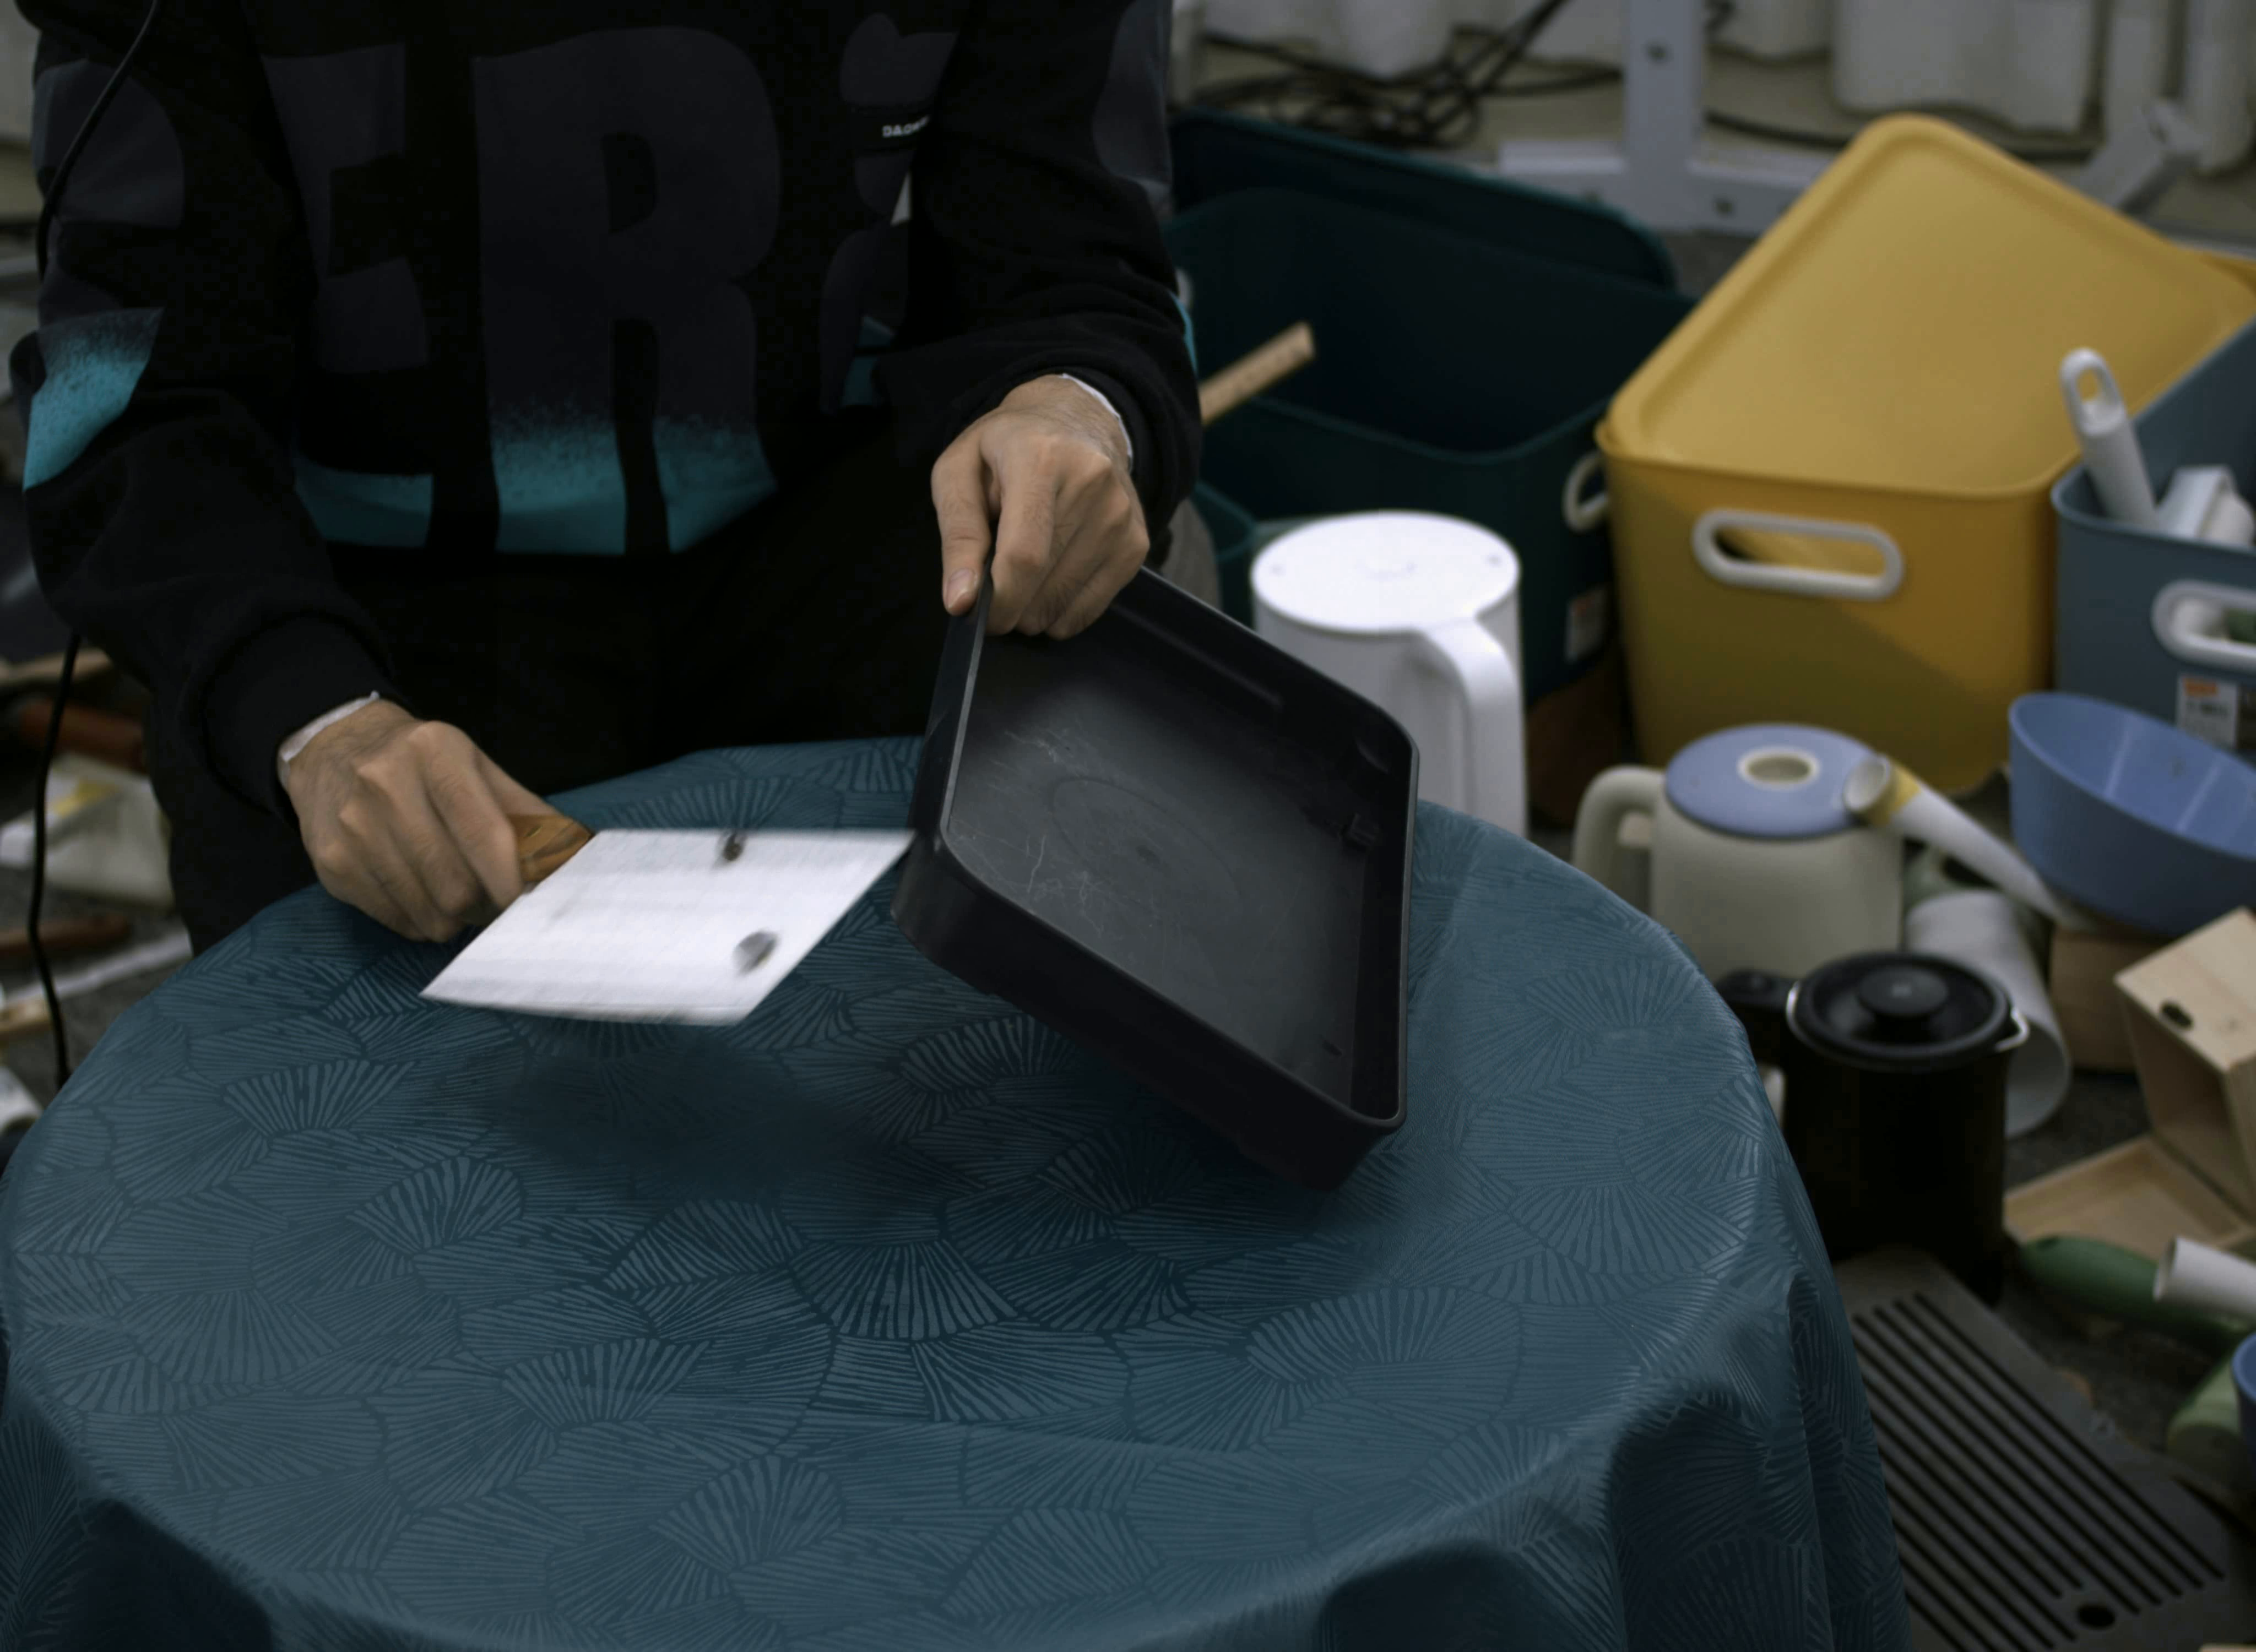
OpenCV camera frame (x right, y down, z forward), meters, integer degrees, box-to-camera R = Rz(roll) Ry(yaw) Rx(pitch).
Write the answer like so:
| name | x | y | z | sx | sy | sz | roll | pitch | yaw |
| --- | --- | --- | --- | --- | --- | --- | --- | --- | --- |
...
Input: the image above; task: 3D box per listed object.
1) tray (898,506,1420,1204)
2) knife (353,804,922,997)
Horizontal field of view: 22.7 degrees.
| name | x | y | z | sx | sy | sz | roll | pitch | yaw |
| --- | --- | --- | --- | --- | --- | --- | --- | --- | --- |
| tray | 0.013 | 0.004 | 1.937 | 0.183 | 0.036 | 0.322 | 31 | 22 | -12 |
| knife | -0.187 | 0.026 | 1.926 | 0.303 | 0.021 | 0.094 | -3 | 38 | 49 |
